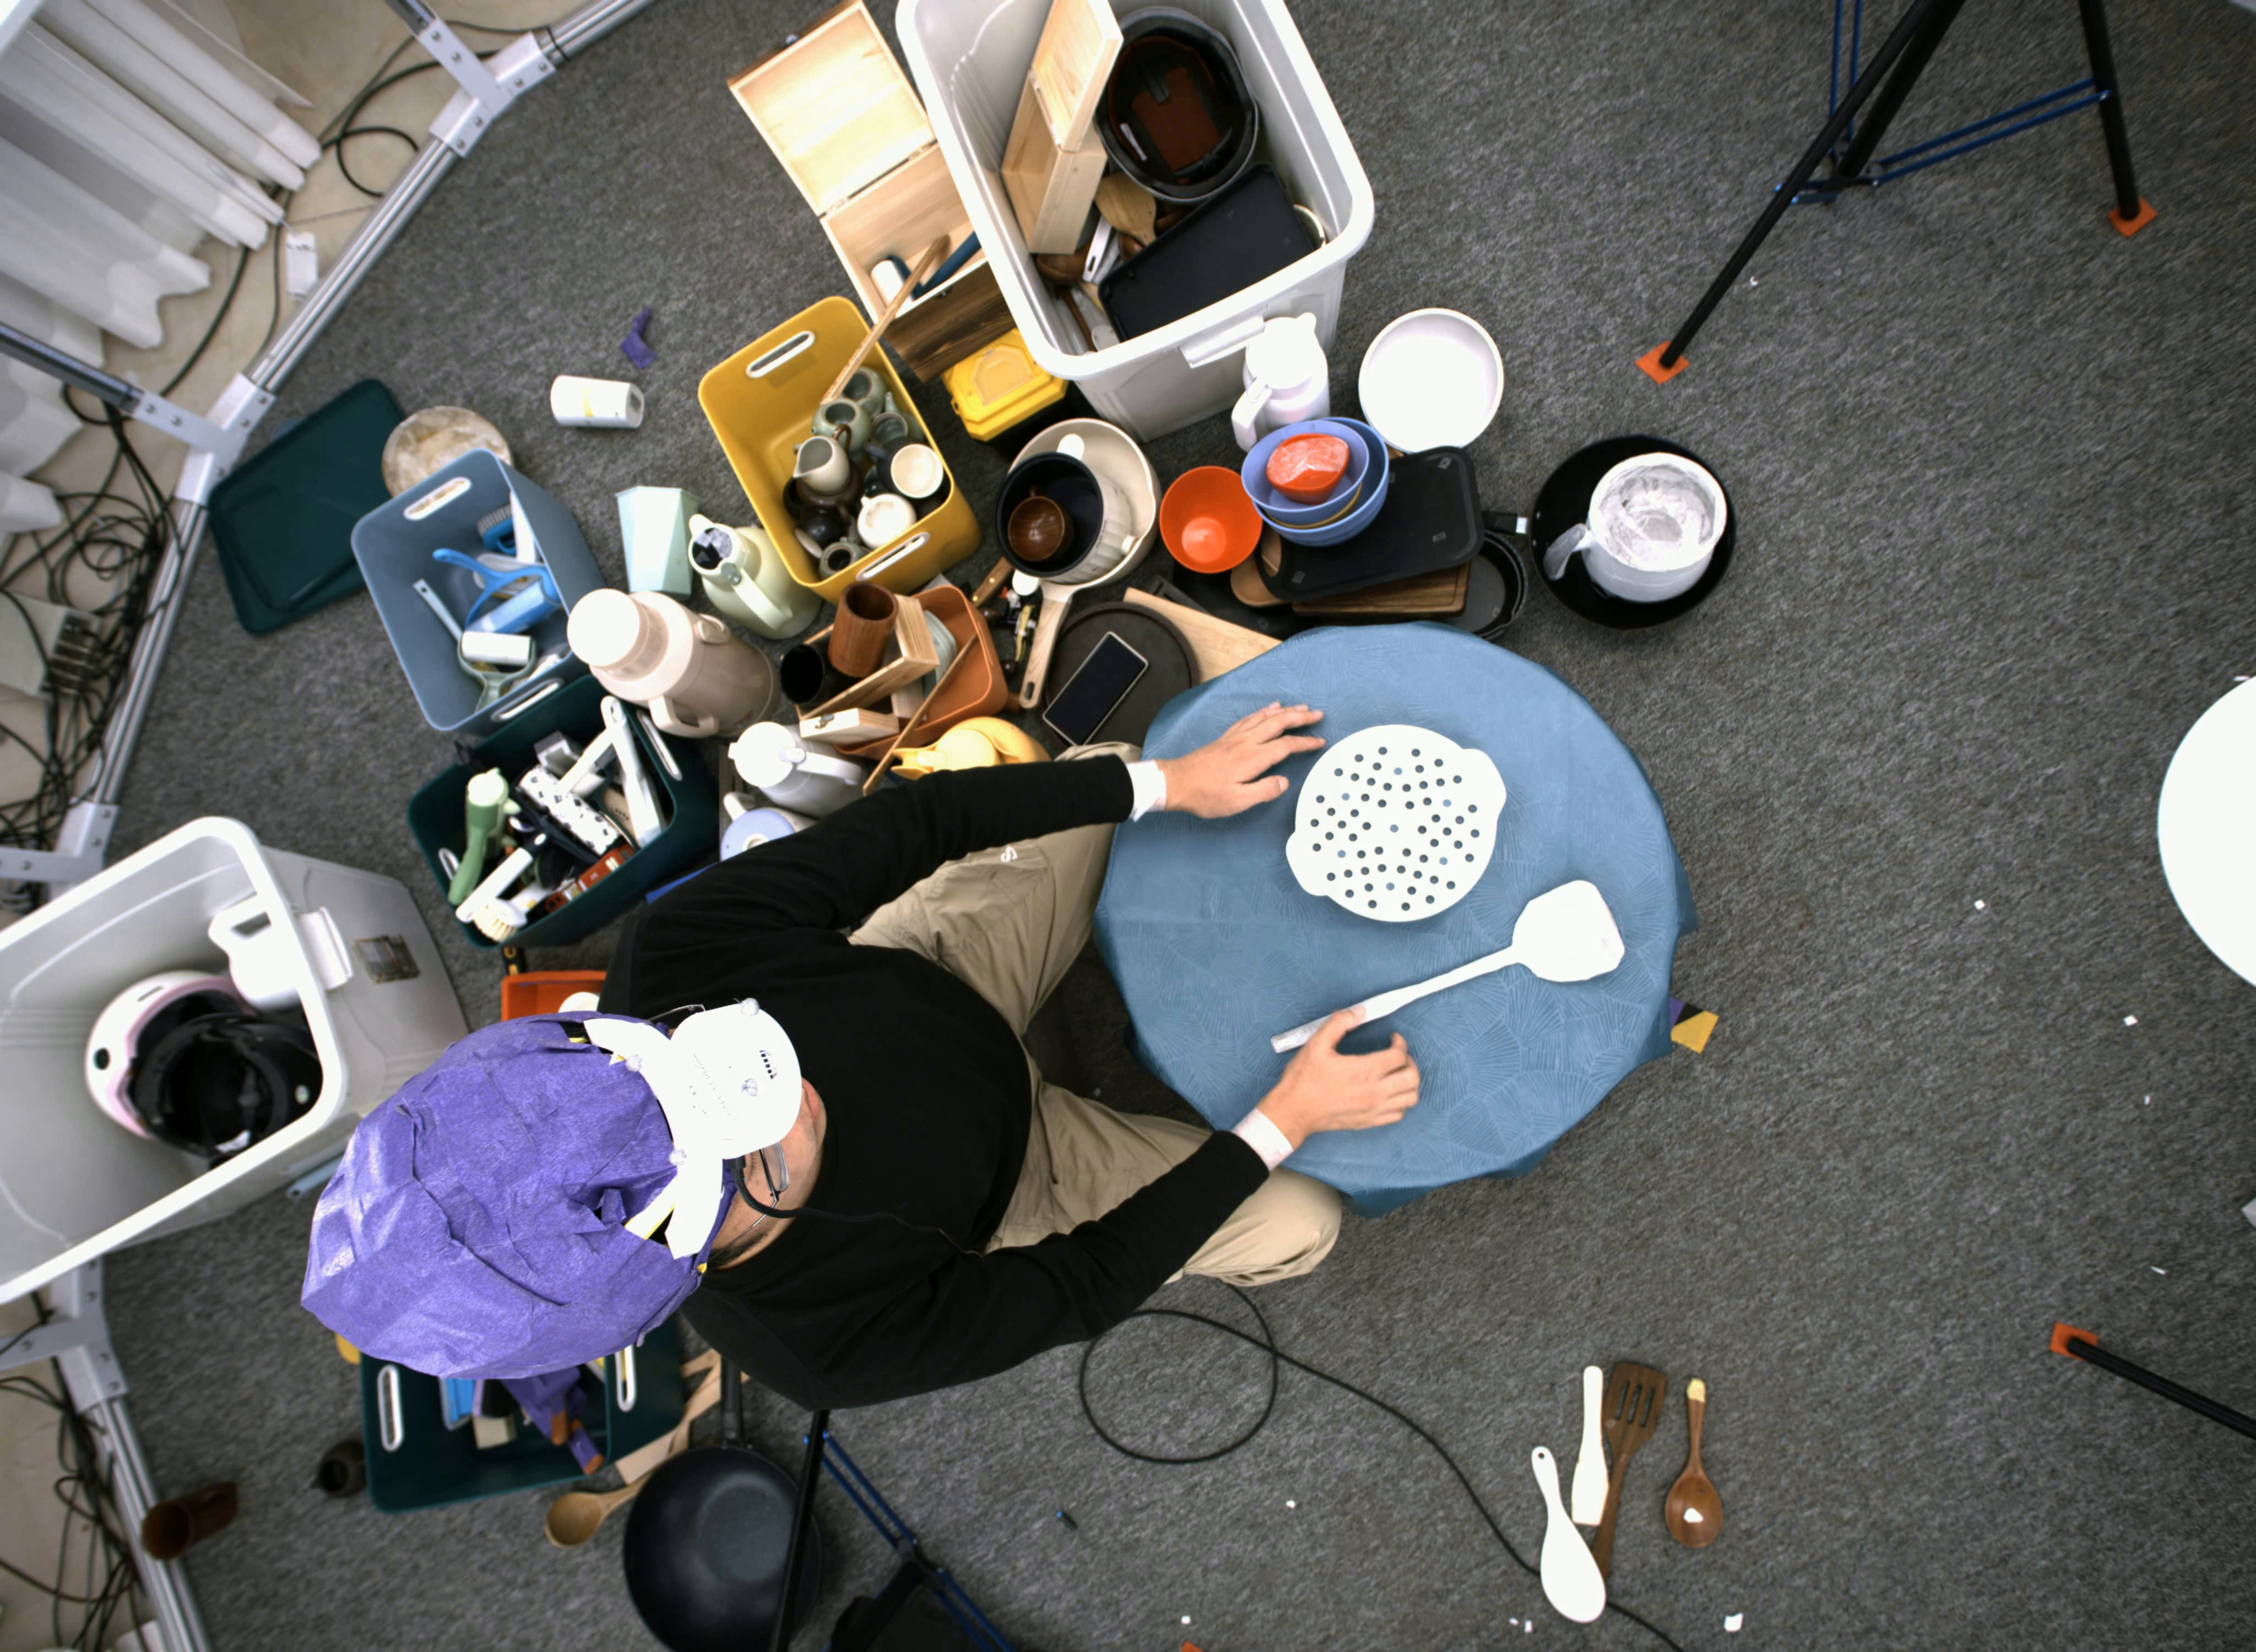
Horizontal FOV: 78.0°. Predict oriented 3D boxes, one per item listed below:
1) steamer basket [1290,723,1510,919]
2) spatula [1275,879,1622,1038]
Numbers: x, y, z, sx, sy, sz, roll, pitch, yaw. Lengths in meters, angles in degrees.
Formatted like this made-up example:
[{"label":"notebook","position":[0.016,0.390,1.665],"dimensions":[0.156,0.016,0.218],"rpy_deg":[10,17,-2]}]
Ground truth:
[{"label":"steamer basket","position":[0.281,-0.004,1.427],"dimensions":[0.232,0.069,0.200],"rpy_deg":[-26,81,9]},{"label":"spatula","position":[0.325,0.155,1.426],"dimensions":[0.367,0.045,0.098],"rpy_deg":[-21,85,9]}]
